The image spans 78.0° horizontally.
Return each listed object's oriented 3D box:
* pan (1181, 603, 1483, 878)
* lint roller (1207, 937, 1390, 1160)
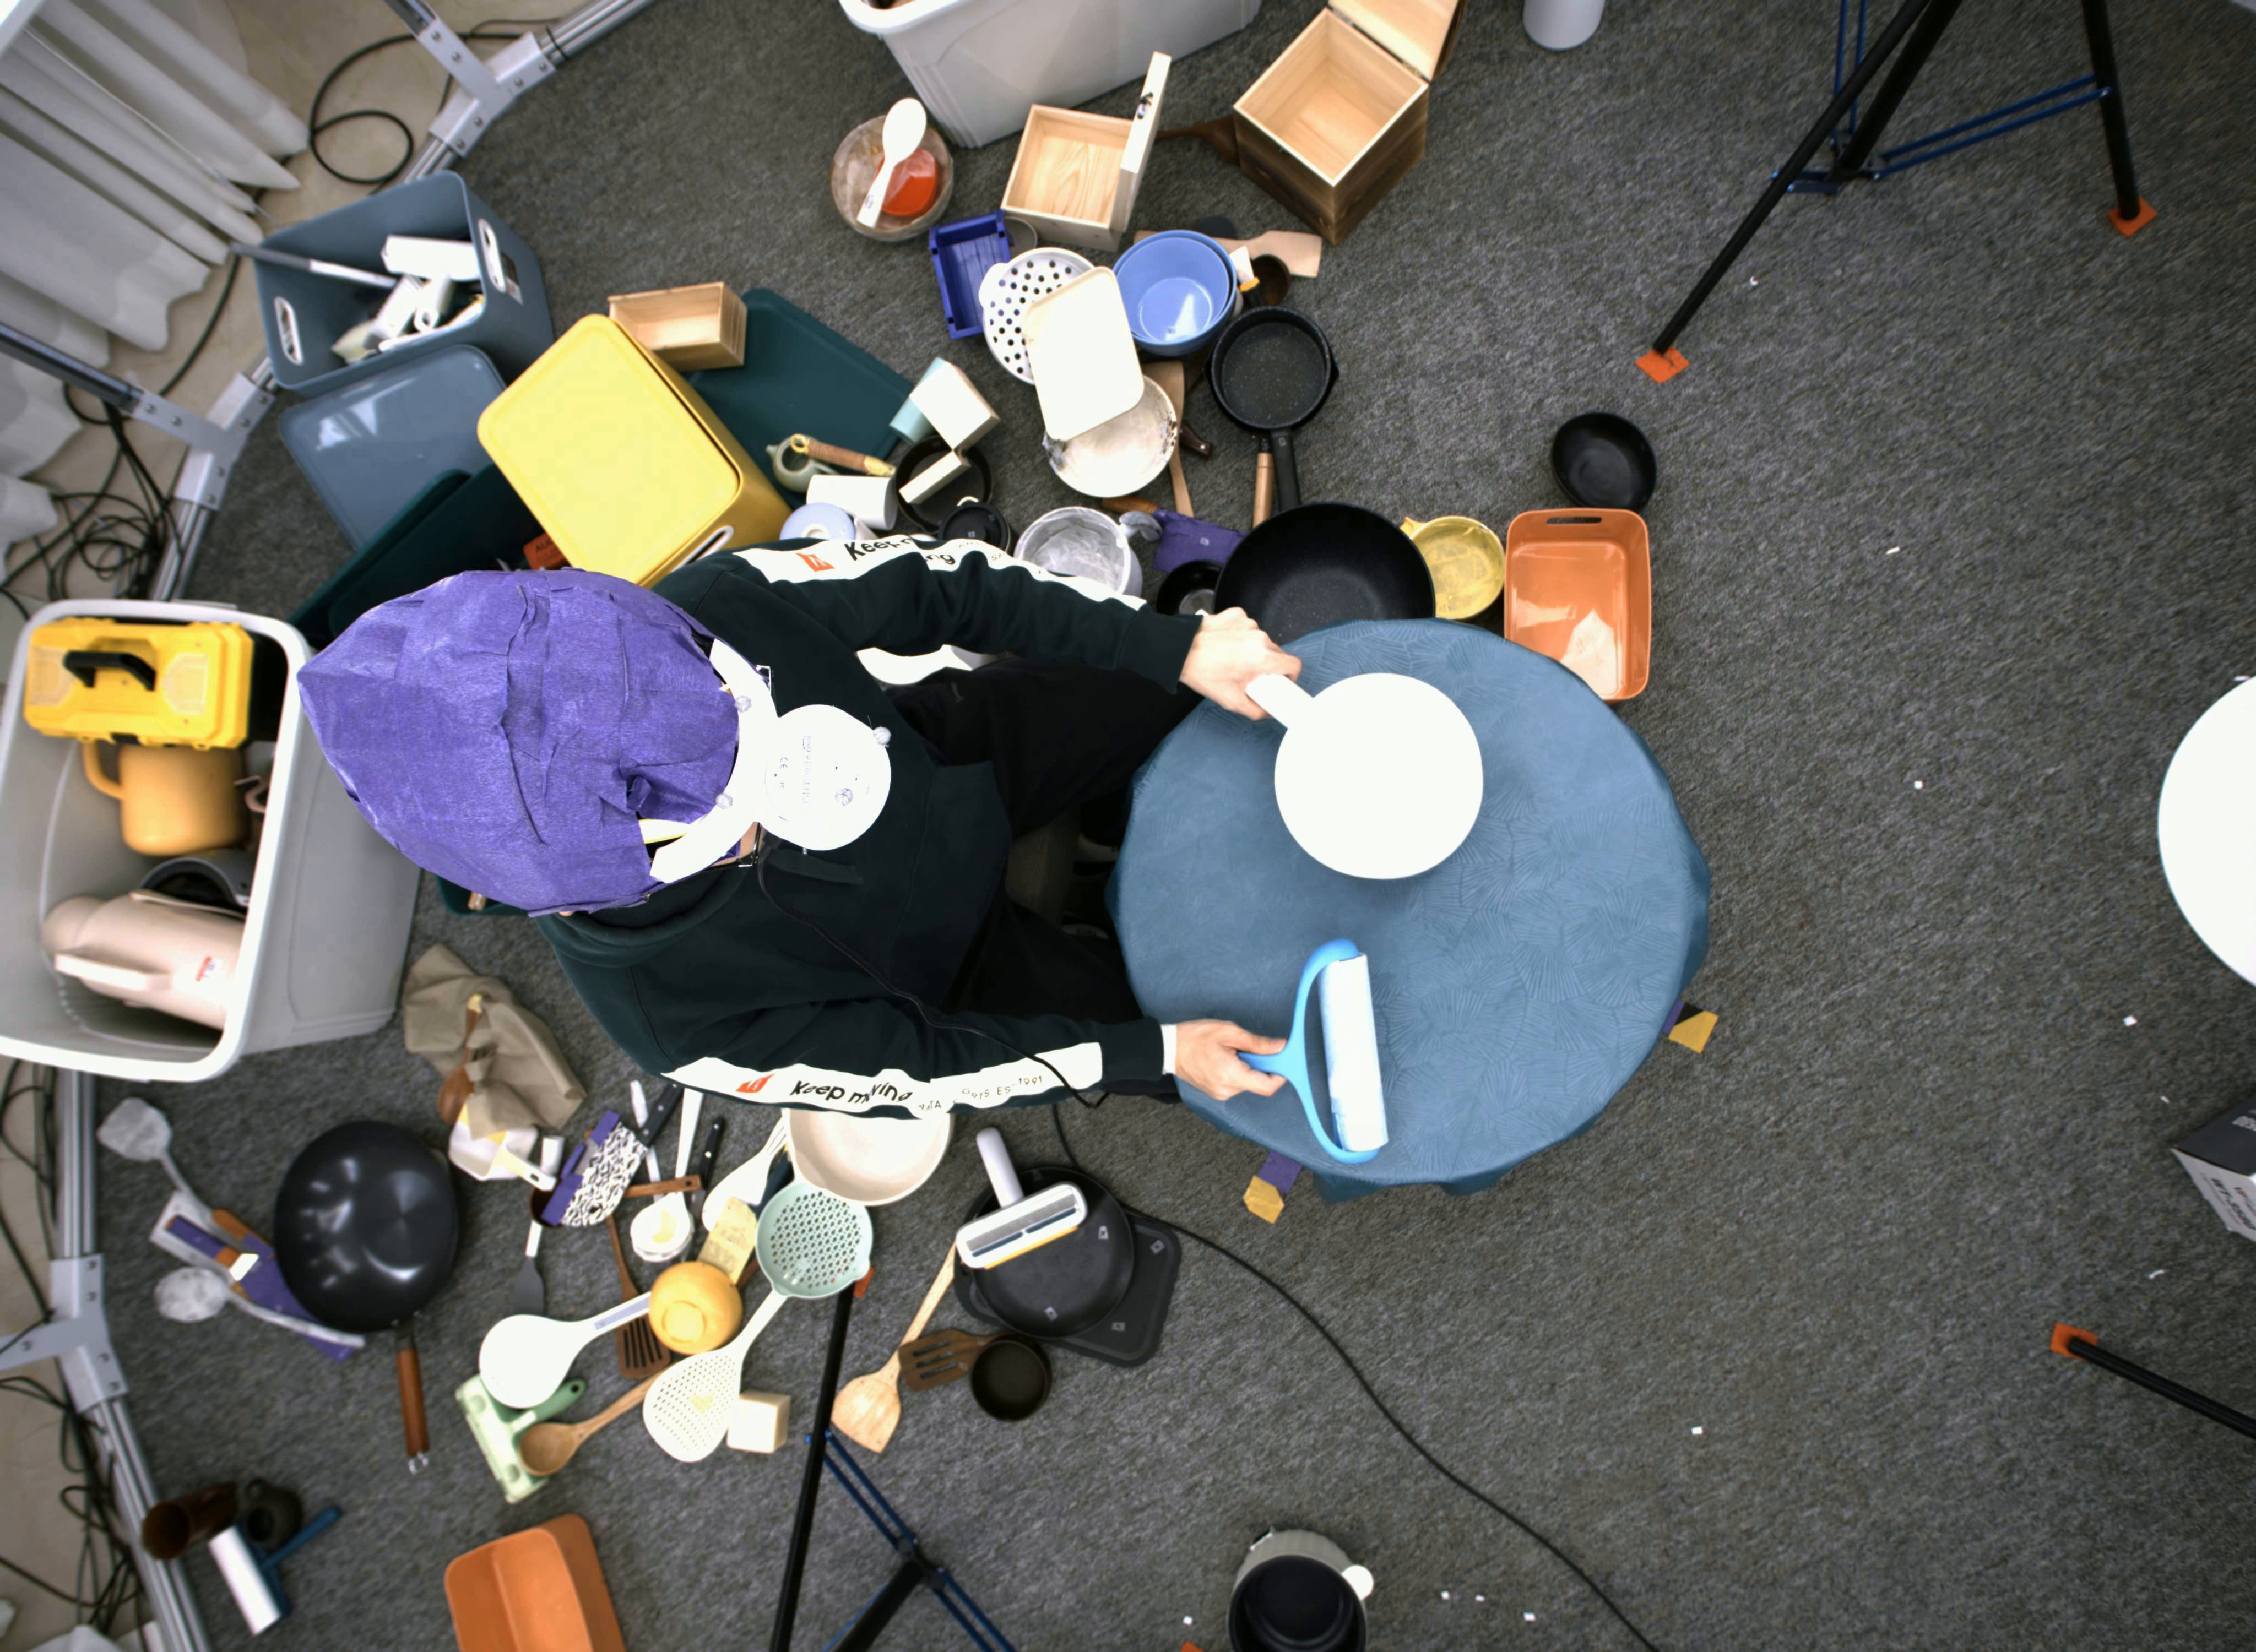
[{"bbox_3d":[0.201,-0.096,1.402,0.352,0.102,0.203,43,100,17],"label":"pan"},{"bbox_3d":[0.169,0.235,1.416,0.181,0.067,0.230,-9,96,8],"label":"lint roller"}]
